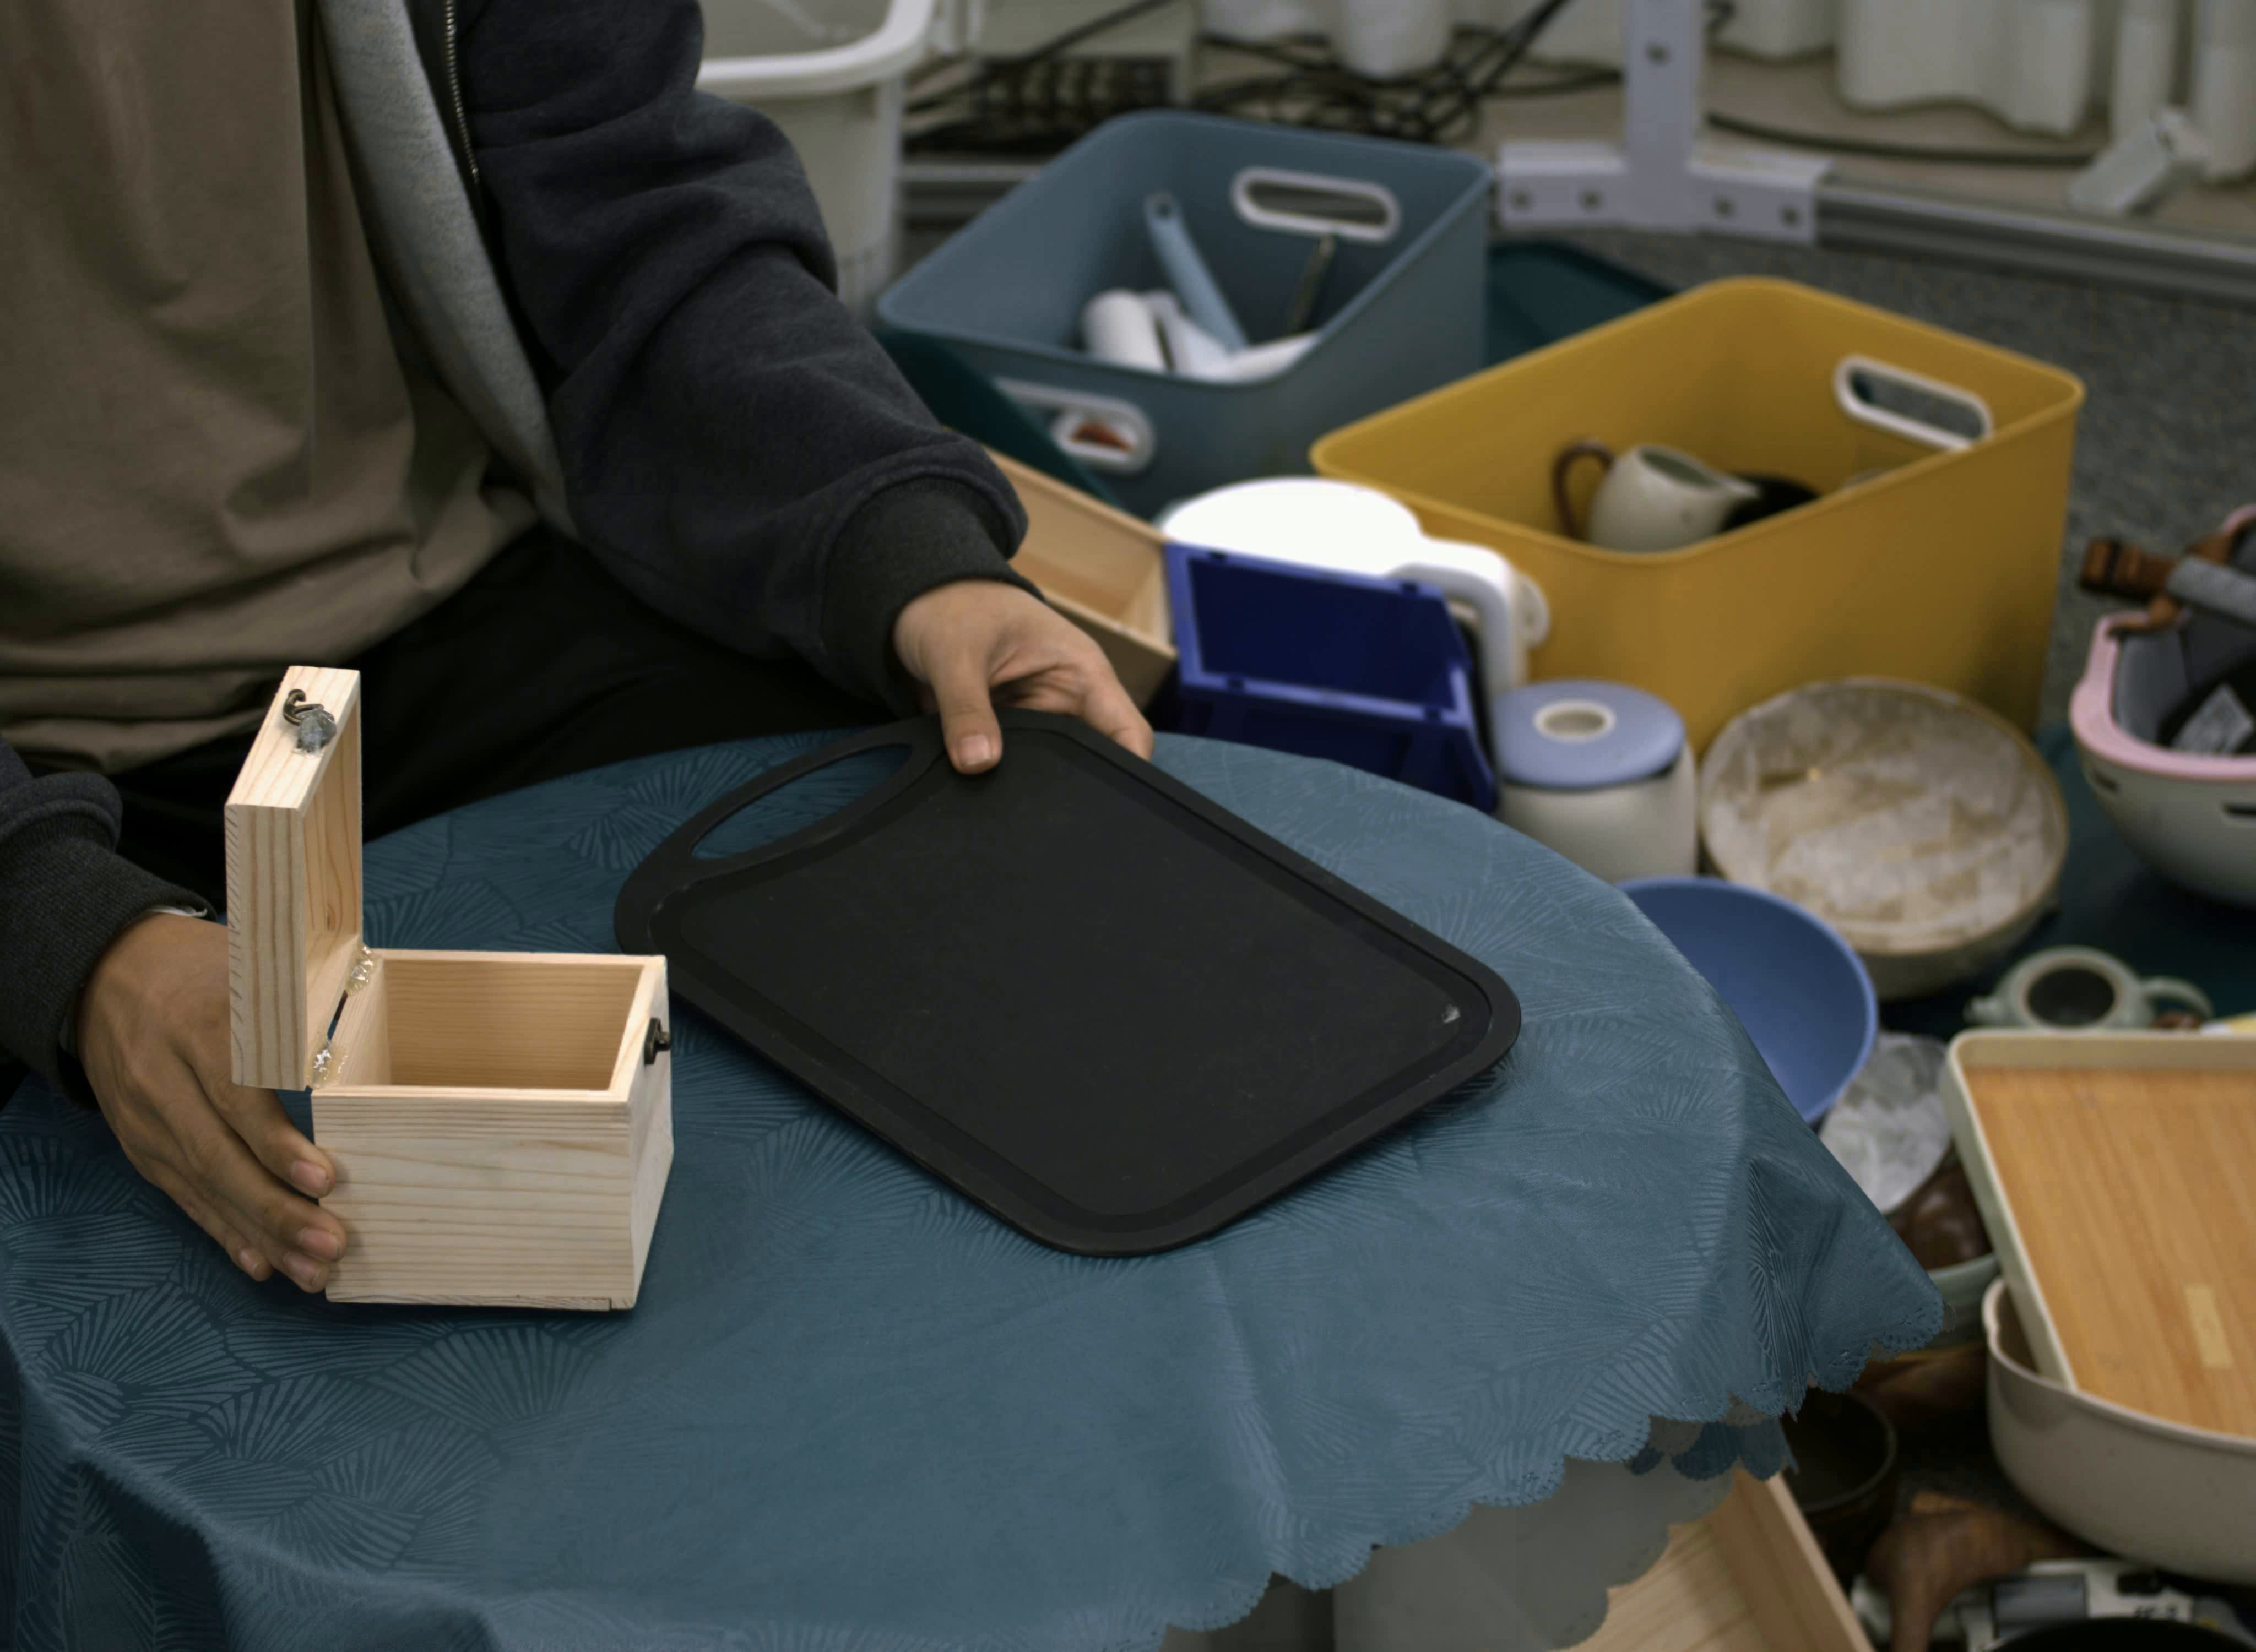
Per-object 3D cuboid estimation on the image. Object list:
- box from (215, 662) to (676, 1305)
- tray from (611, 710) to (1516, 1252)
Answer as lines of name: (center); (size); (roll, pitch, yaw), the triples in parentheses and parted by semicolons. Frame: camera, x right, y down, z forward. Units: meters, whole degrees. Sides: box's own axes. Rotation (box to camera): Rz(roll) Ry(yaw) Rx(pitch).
box: (-0.215, 0.050, 1.811); (0.133, 0.182, 0.104); (0, 25, 2)
tray: (-0.032, 0.044, 1.971); (0.213, 0.009, 0.326); (-27, 40, -31)
